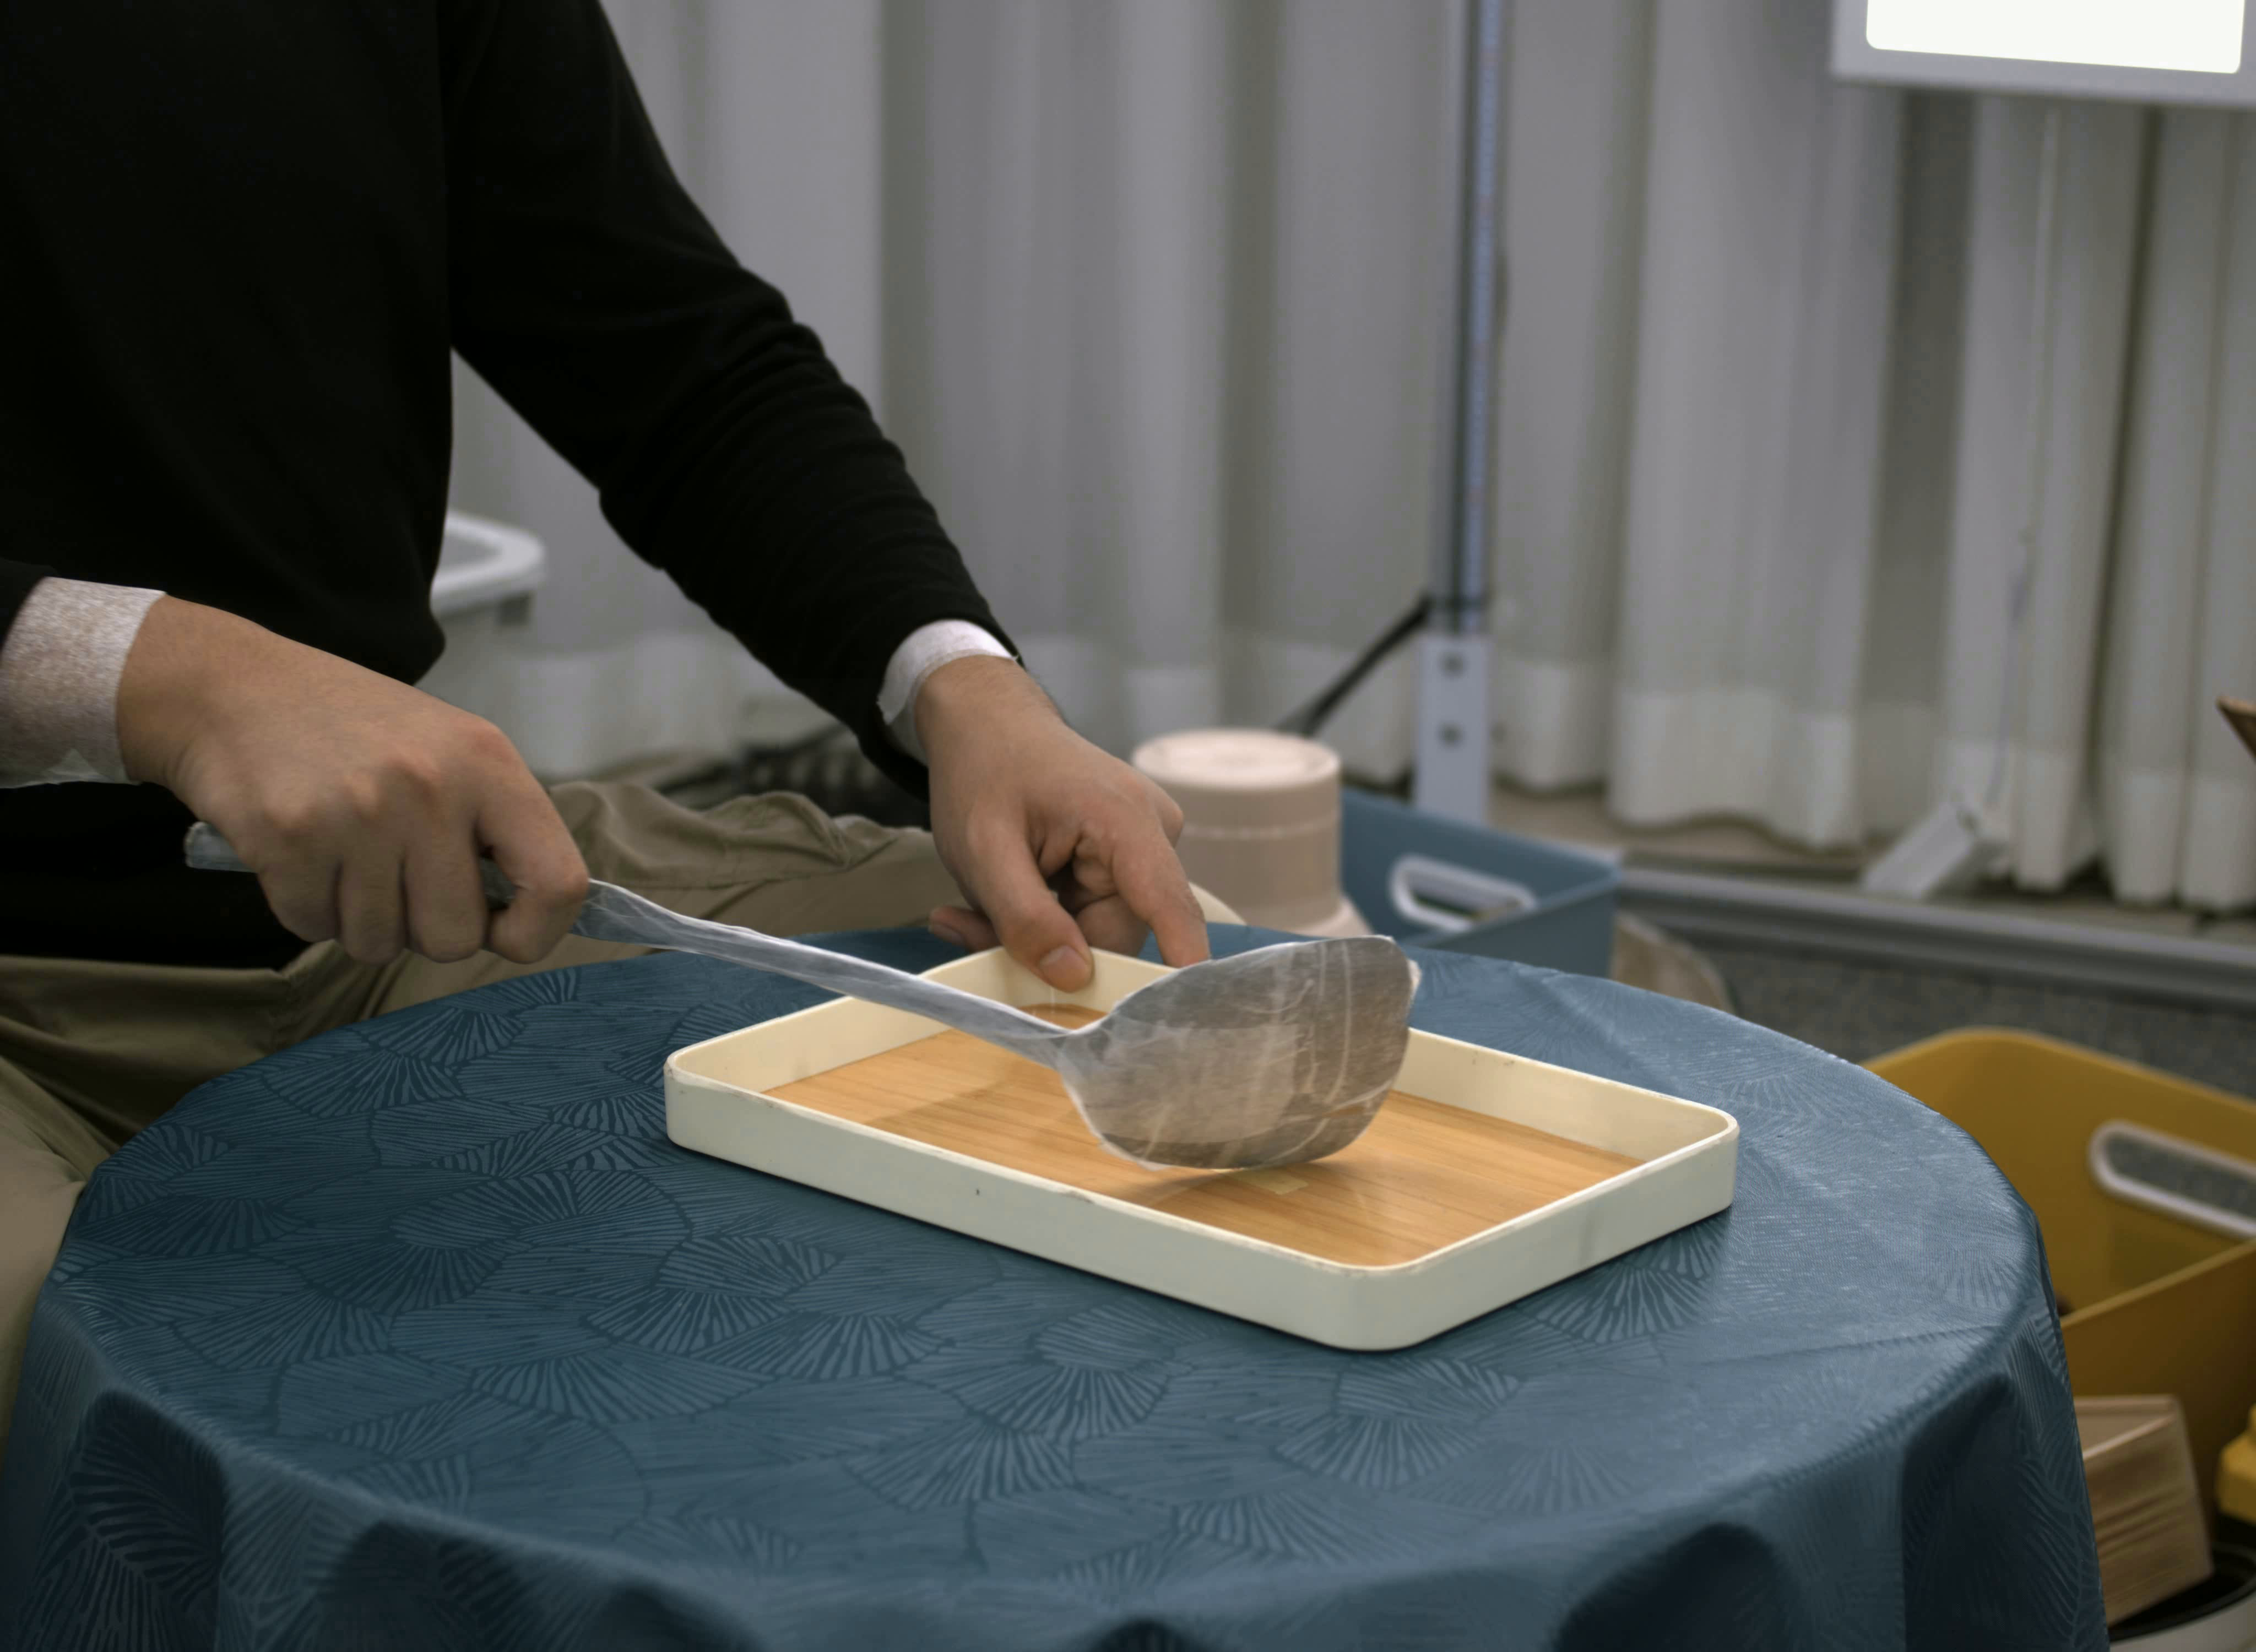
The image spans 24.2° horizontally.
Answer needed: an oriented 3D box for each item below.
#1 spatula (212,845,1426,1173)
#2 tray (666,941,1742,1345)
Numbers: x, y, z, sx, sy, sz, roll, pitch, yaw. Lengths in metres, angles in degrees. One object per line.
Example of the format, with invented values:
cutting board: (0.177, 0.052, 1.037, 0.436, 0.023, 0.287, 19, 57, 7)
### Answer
spatula: (-0.091, 0.041, 1.581, 0.364, 0.099, 0.044, 13, 41, -2)
tray: (0.021, 0.094, 1.637, 0.296, 0.027, 0.192, 13, 20, 39)
